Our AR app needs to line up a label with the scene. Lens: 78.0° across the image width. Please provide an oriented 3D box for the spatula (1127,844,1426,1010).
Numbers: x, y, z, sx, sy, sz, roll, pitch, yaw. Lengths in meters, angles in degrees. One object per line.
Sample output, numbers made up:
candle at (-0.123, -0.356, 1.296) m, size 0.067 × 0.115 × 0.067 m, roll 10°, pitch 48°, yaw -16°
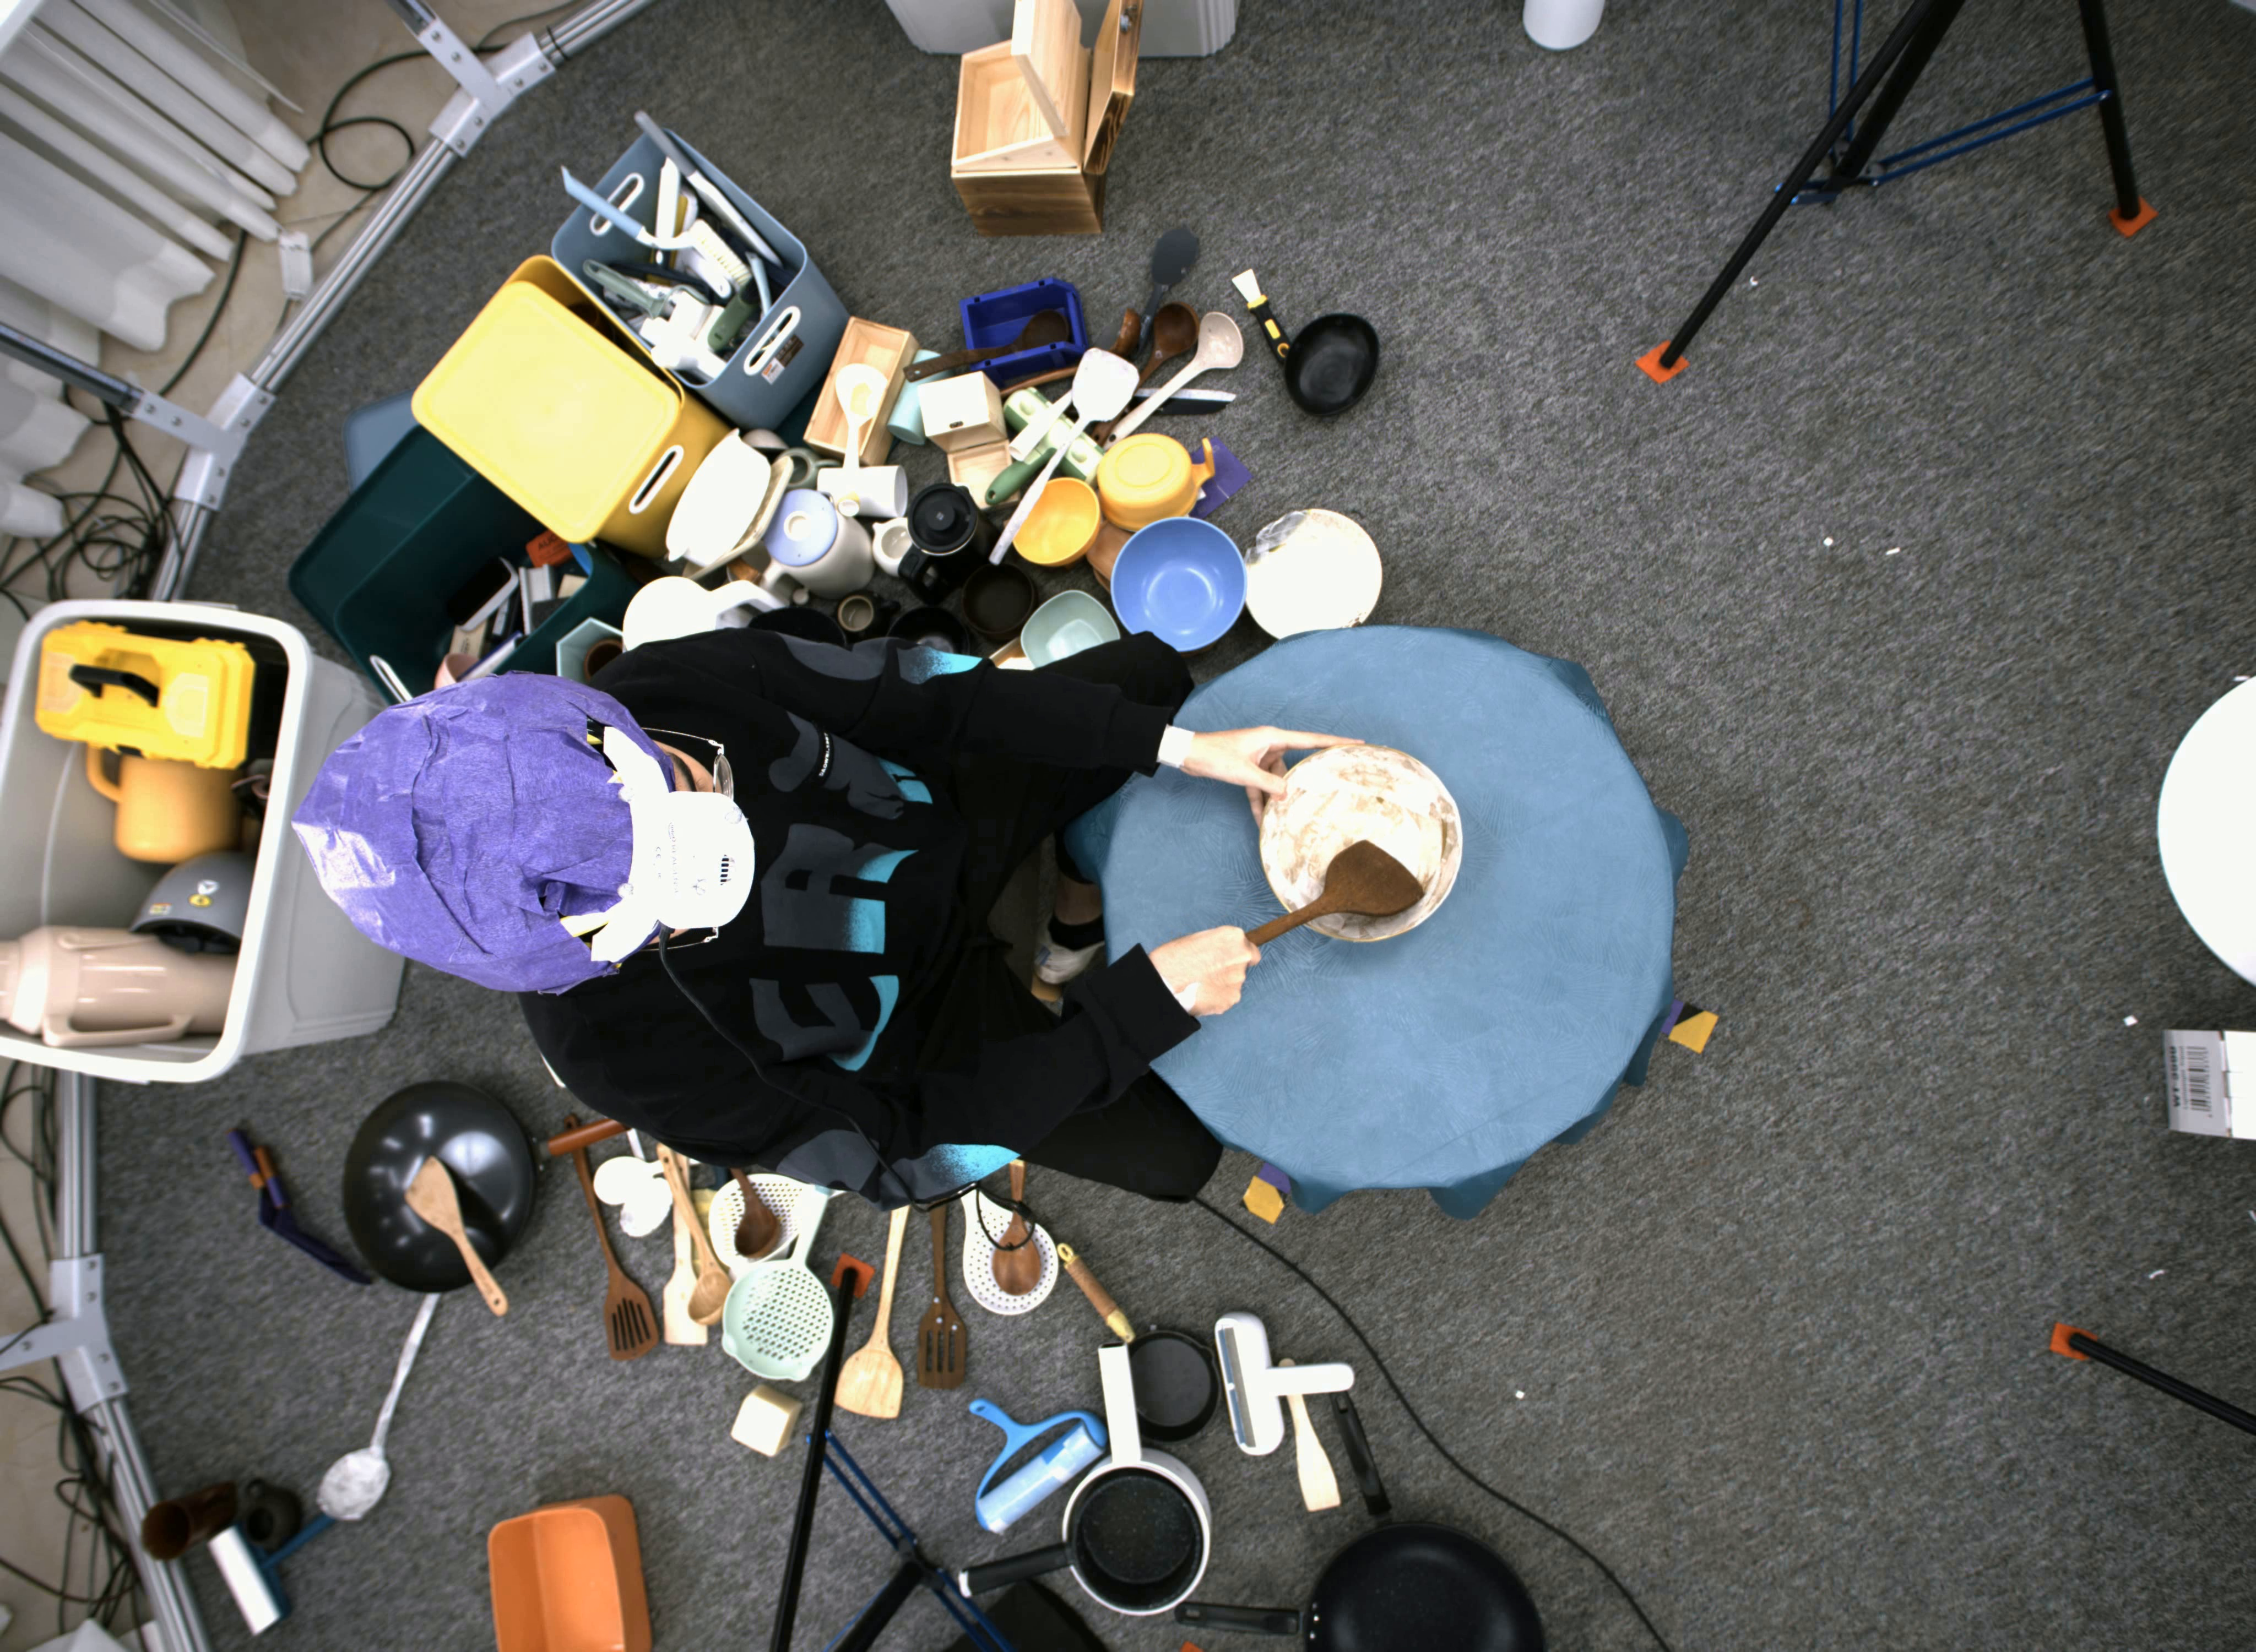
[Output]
spatula at (0.146, 0.100, 1.342) m, size 0.095 × 0.380 × 0.016 m, roll 45°, pitch 138°, yaw 28°

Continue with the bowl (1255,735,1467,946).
bowl at (0.241, 0.016, 1.425) m, size 0.215 × 0.094 × 0.214 m, roll 0°, pitch 91°, yaw 12°
